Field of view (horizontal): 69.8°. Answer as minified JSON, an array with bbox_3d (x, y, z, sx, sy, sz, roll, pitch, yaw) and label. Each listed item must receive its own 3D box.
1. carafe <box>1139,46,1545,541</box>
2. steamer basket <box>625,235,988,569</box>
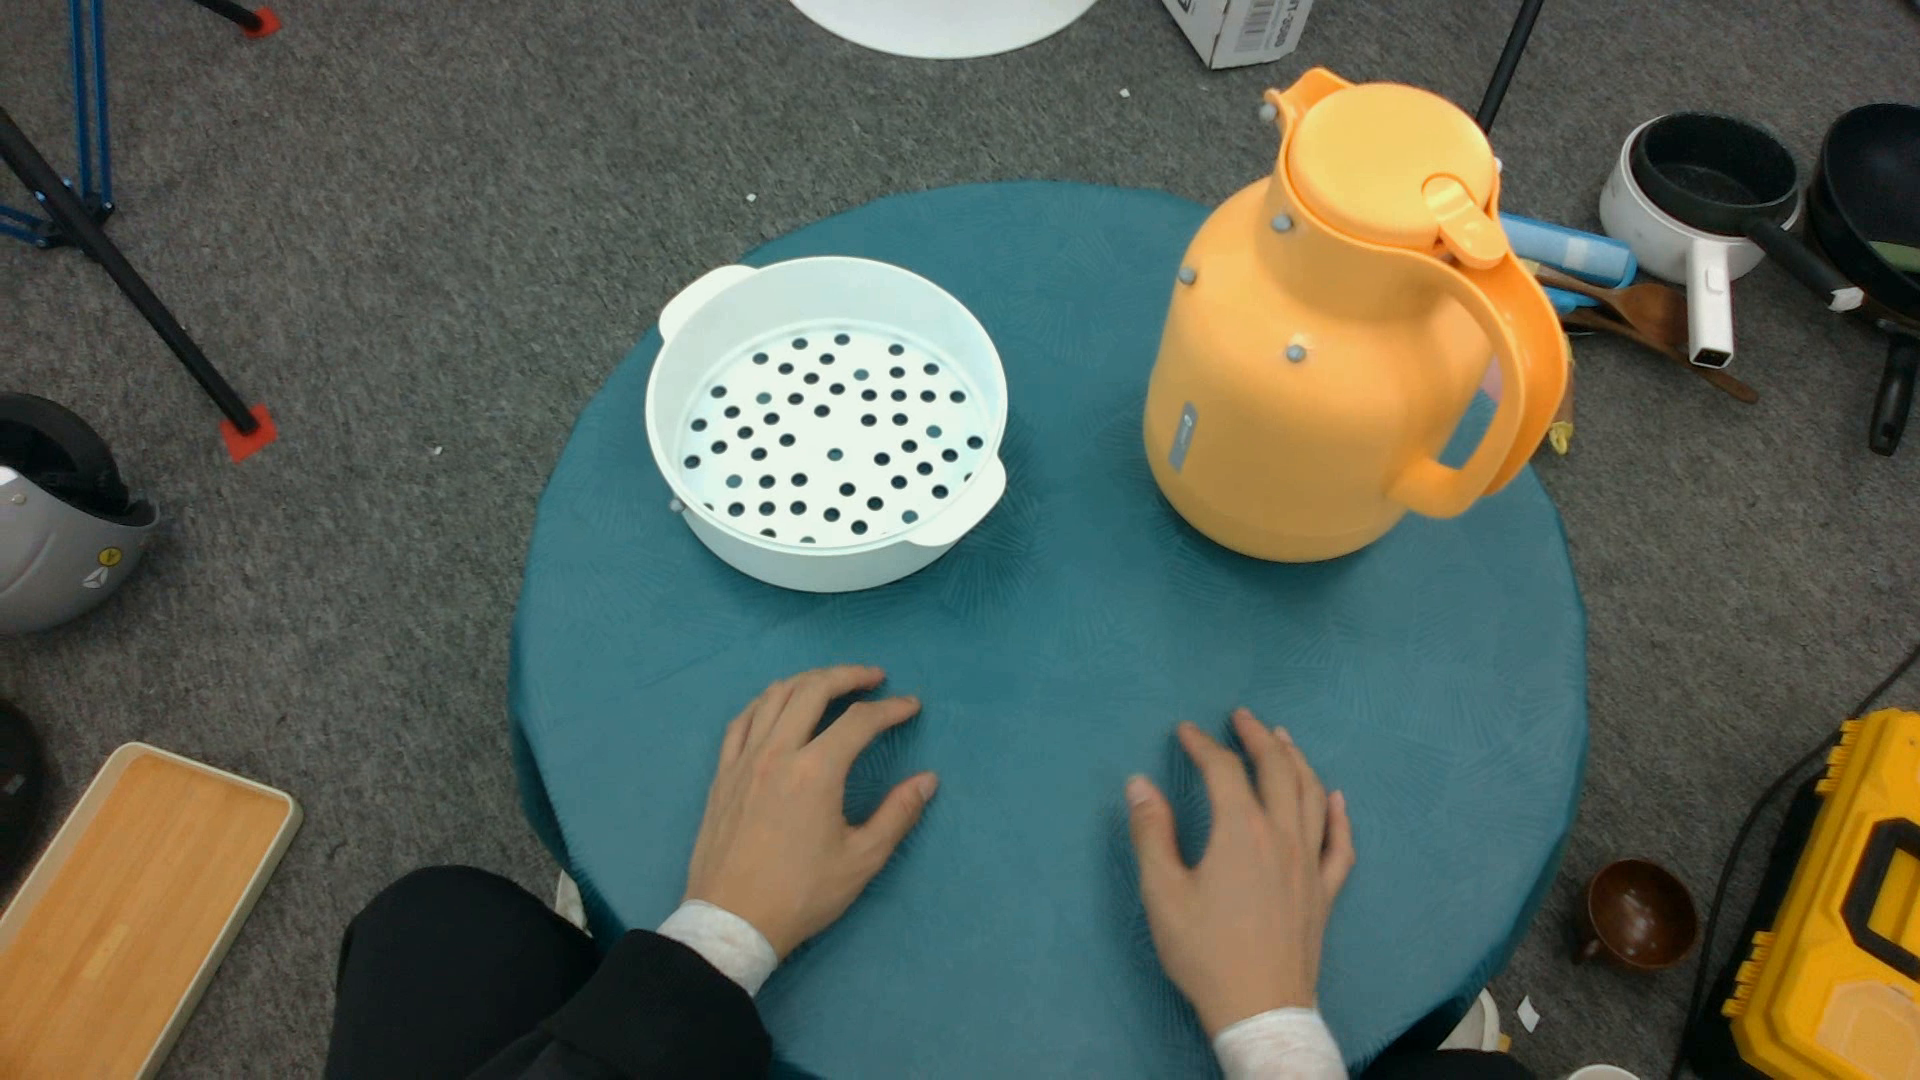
[{"bbox_3d":[0.192,-0.105,0.702,0.164,0.259,0.203,-27,63,-13],"label":"carafe"},{"bbox_3d":[-0.085,-0.079,0.789,0.230,0.069,0.202,37,67,20],"label":"steamer basket"}]
